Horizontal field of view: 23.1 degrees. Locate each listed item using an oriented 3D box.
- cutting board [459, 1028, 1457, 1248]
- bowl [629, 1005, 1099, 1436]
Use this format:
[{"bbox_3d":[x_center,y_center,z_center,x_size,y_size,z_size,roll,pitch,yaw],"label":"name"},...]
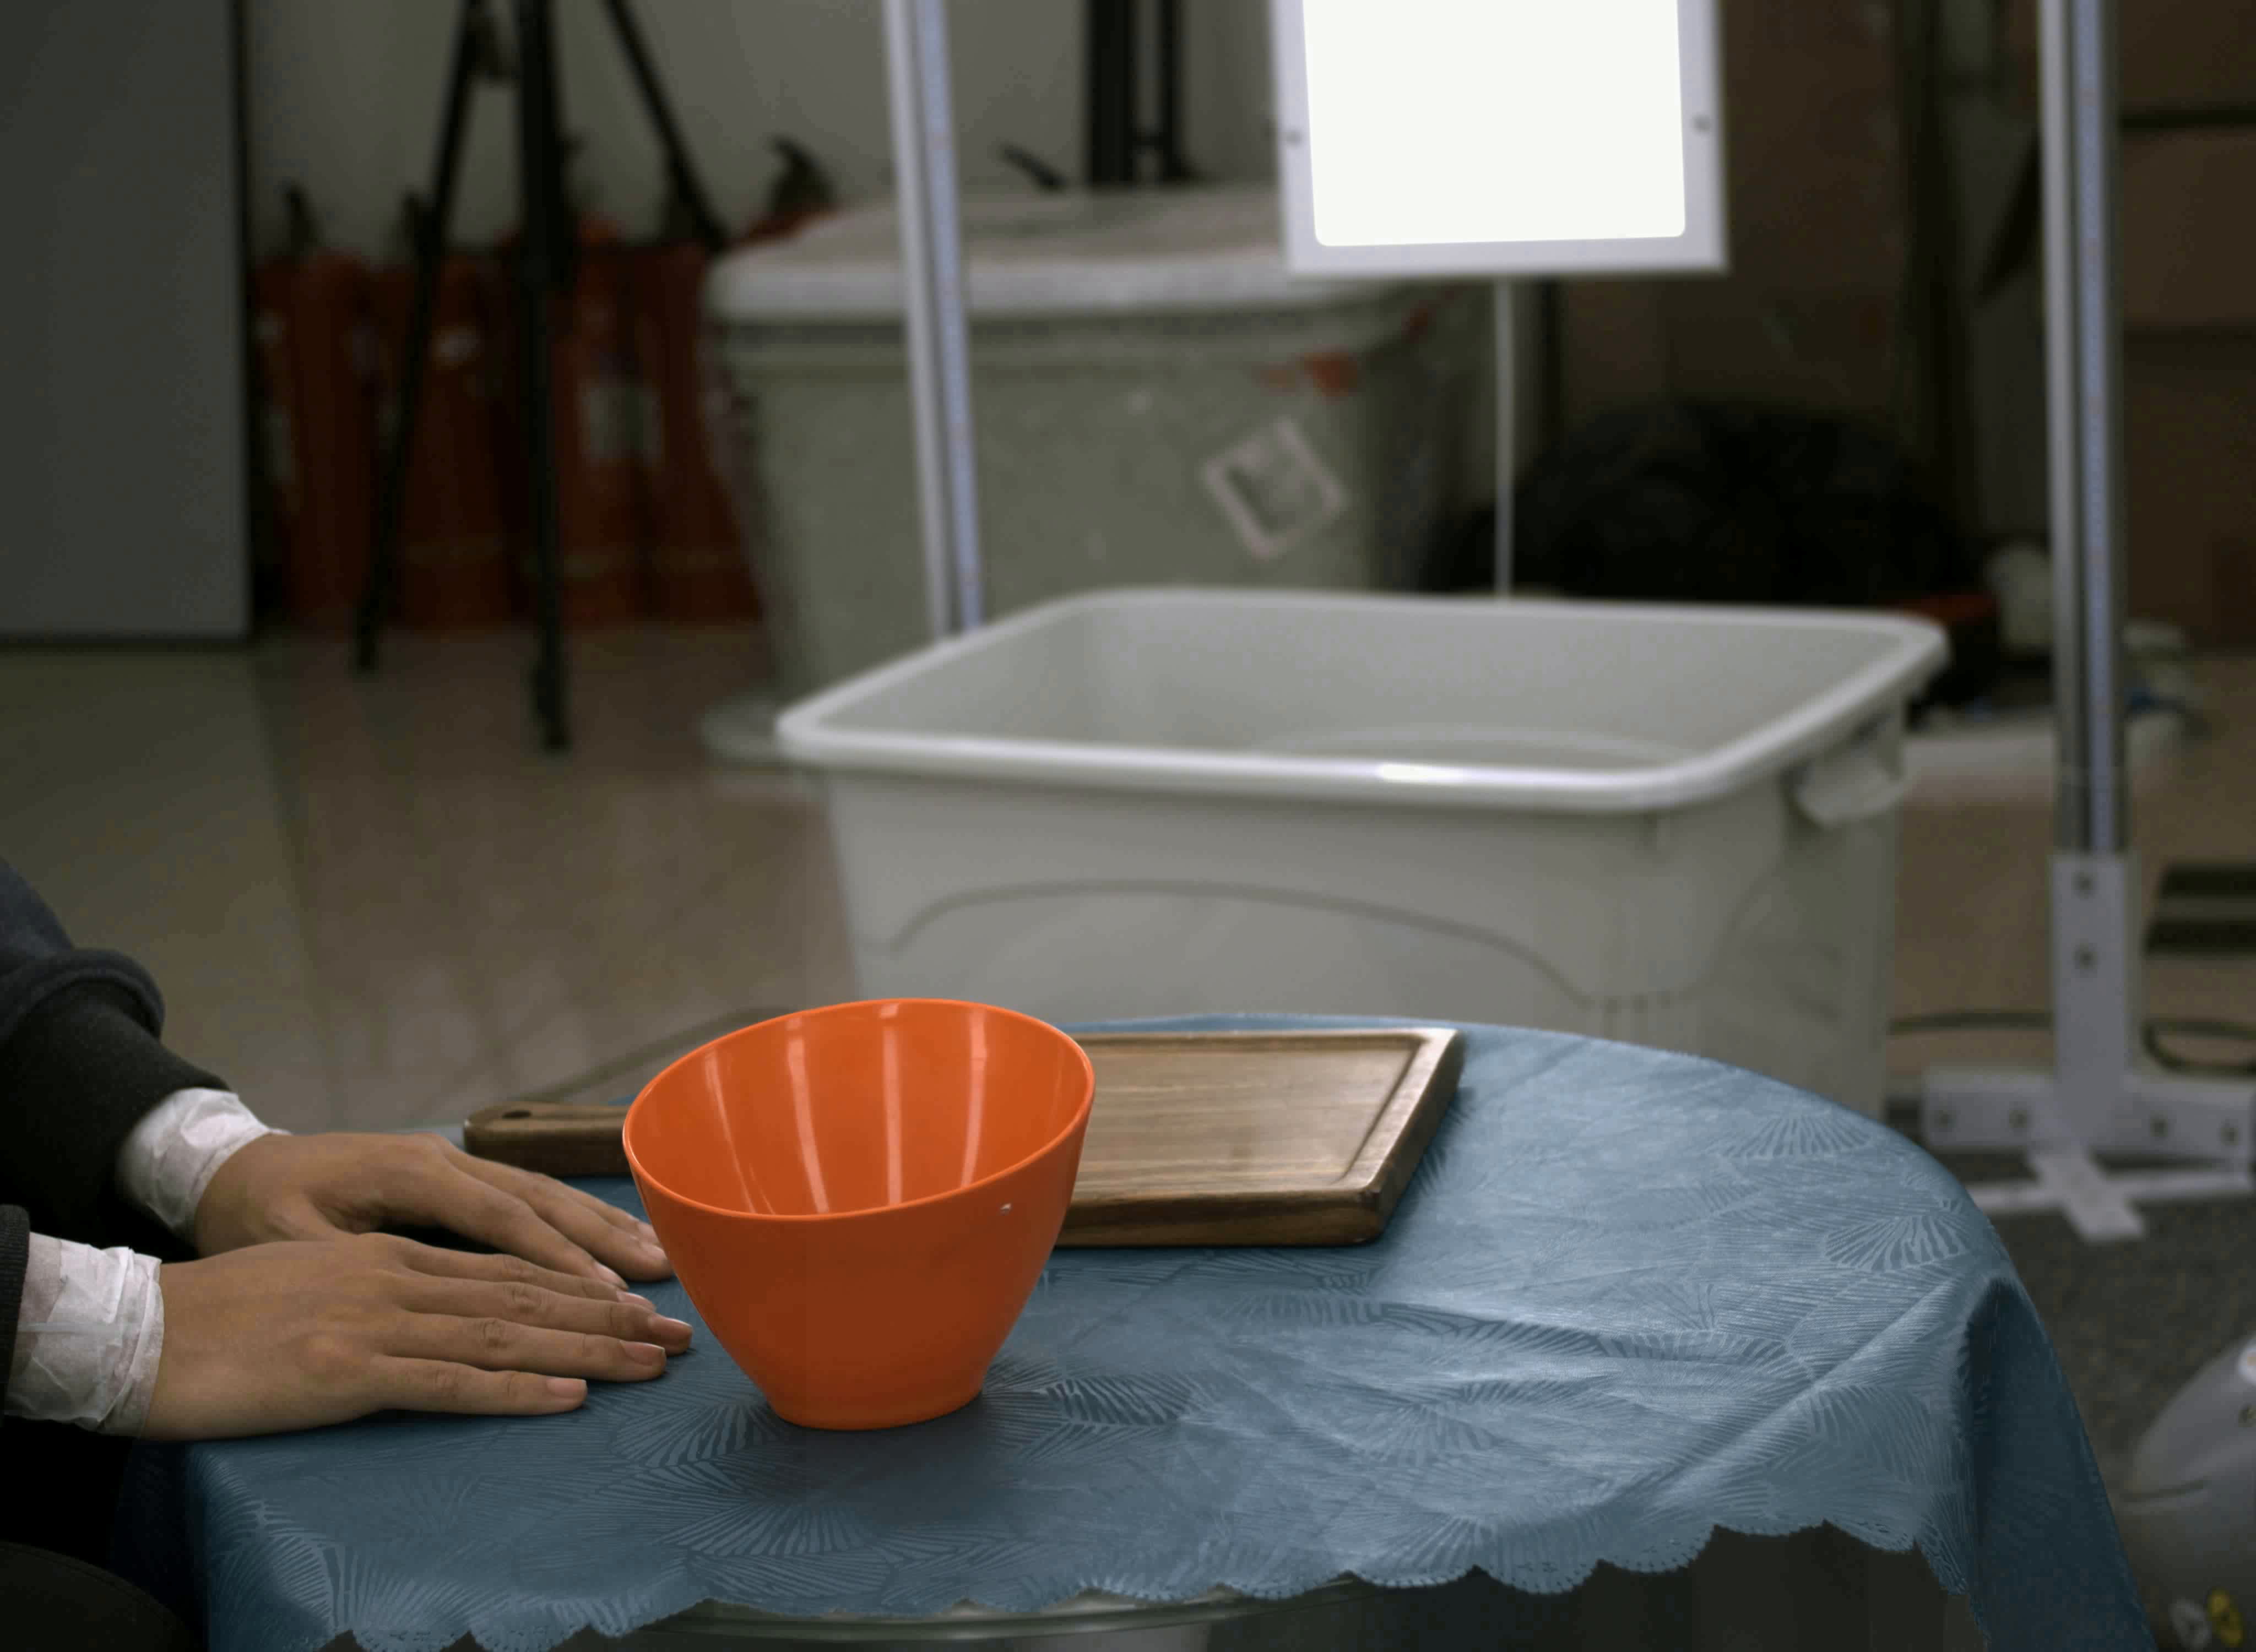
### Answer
[{"bbox_3d":[-0.068,0.110,1.948,0.355,0.023,0.198,-2,14,15],"label":"cutting board"},{"bbox_3d":[-0.078,0.126,1.716,0.147,0.105,0.148,-5,14,0],"label":"bowl"}]
